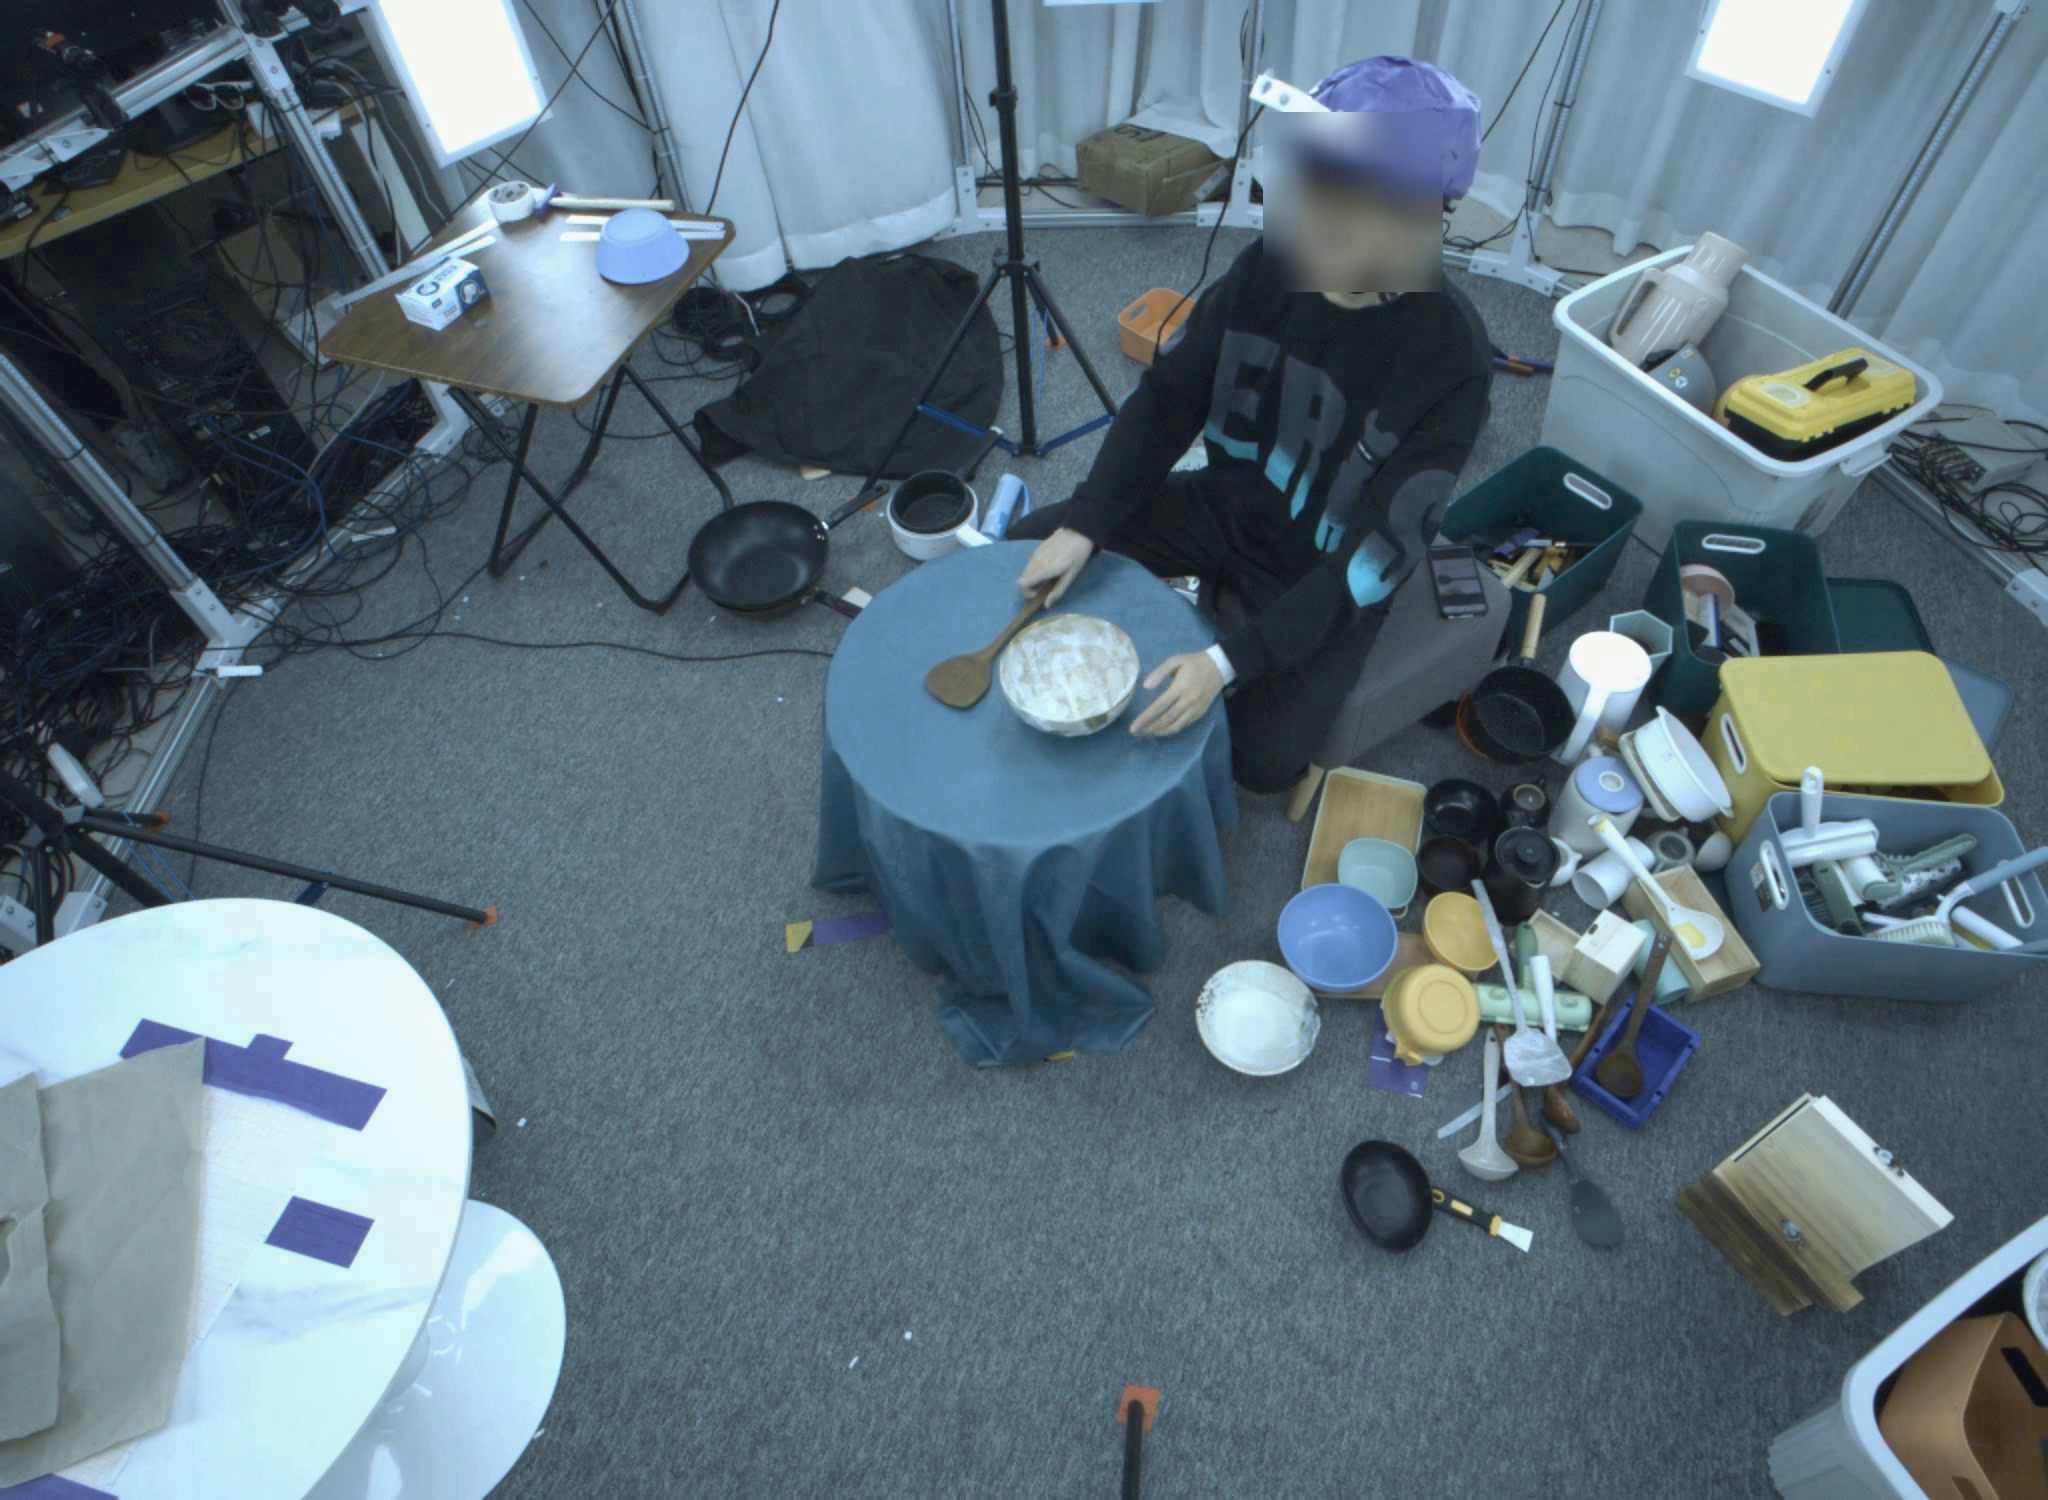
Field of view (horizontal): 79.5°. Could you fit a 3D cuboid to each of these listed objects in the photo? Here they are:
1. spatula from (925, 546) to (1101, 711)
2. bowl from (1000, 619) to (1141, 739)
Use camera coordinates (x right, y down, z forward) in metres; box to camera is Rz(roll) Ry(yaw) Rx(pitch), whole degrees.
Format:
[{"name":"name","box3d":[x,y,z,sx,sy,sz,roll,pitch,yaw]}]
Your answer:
[{"name":"spatula","box3d":[-0.003,-0.201,1.923,0.094,0.016,0.388,33,66,22]},{"name":"bowl","box3d":[0.073,-0.090,1.802,0.214,0.095,0.212,-1,53,2]}]
